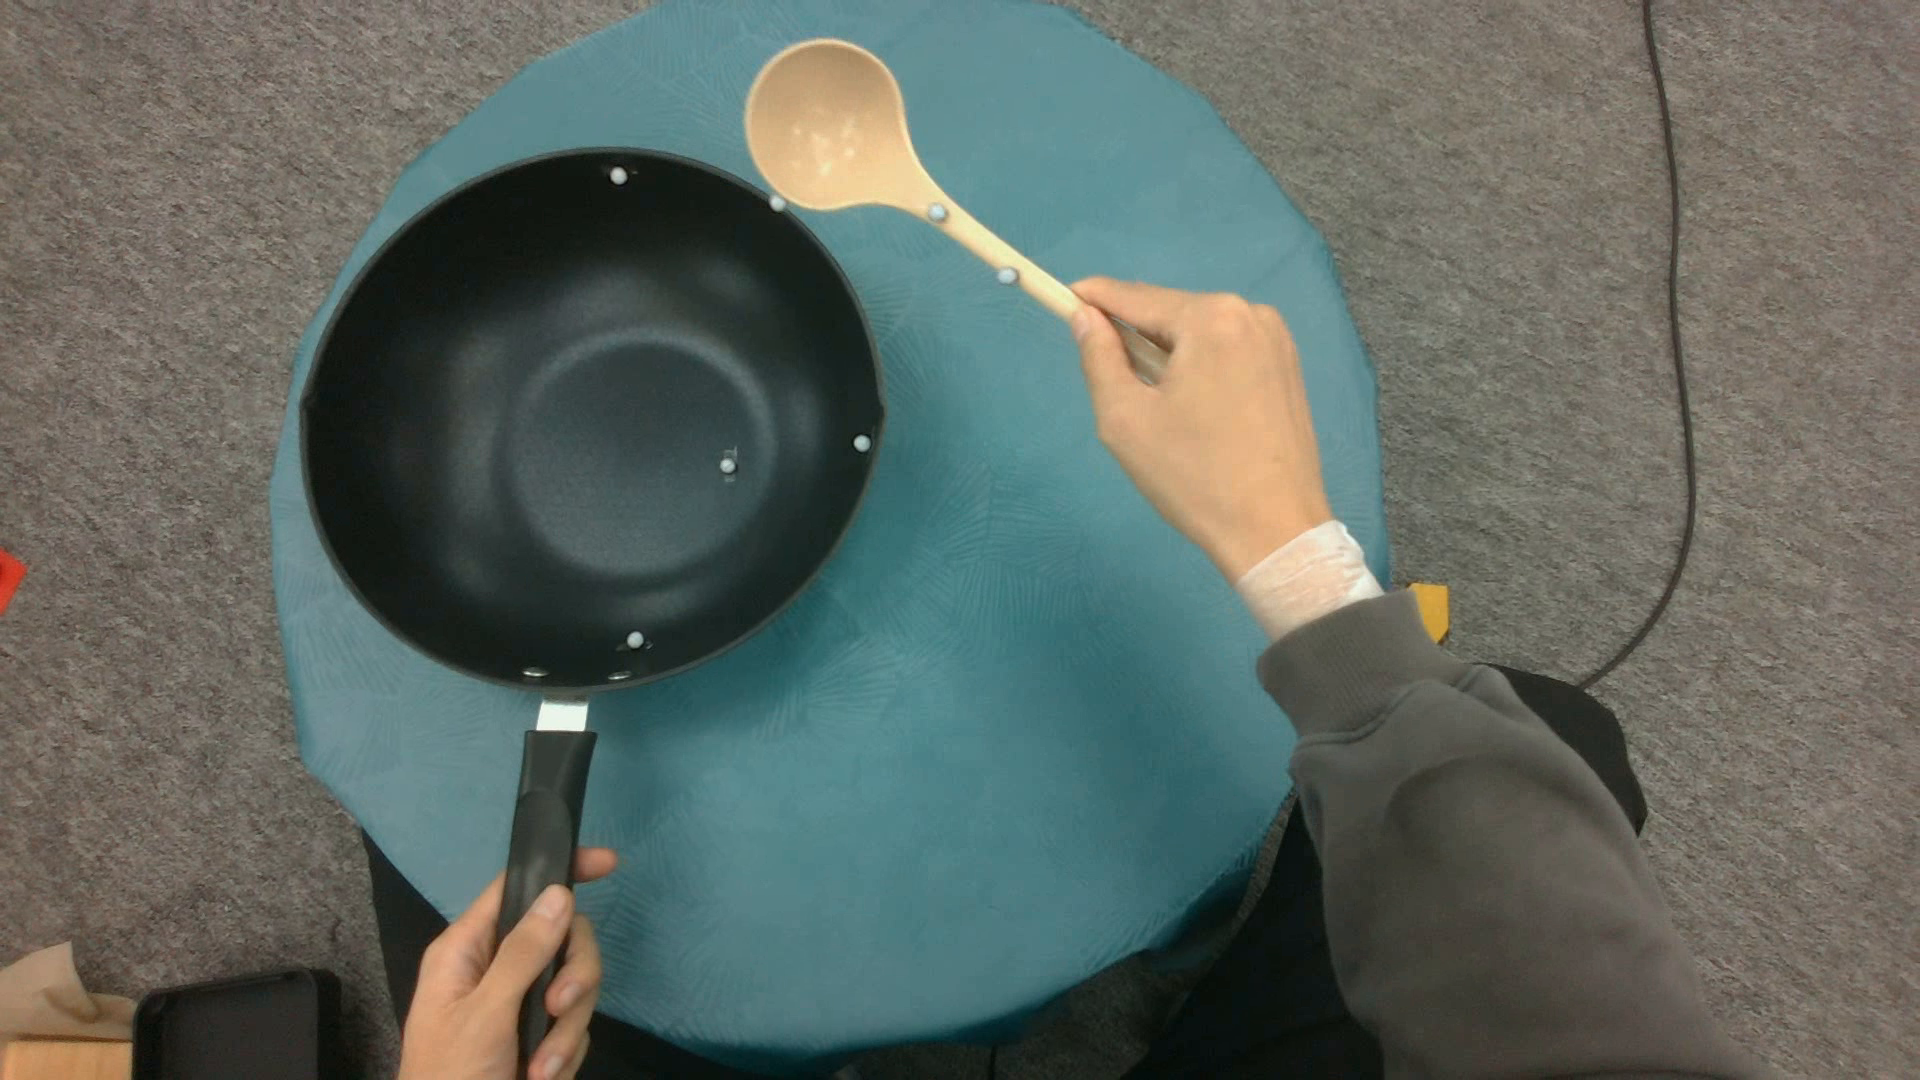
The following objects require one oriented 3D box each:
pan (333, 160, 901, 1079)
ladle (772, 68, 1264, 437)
[{"bbox_3d":[-0.175,0.036,0.700,0.288,0.086,0.464,2,77,3],"label":"pan"},{"bbox_3d":[0.019,-0.123,0.591,0.254,0.073,0.072,38,96,24],"label":"ladle"}]
